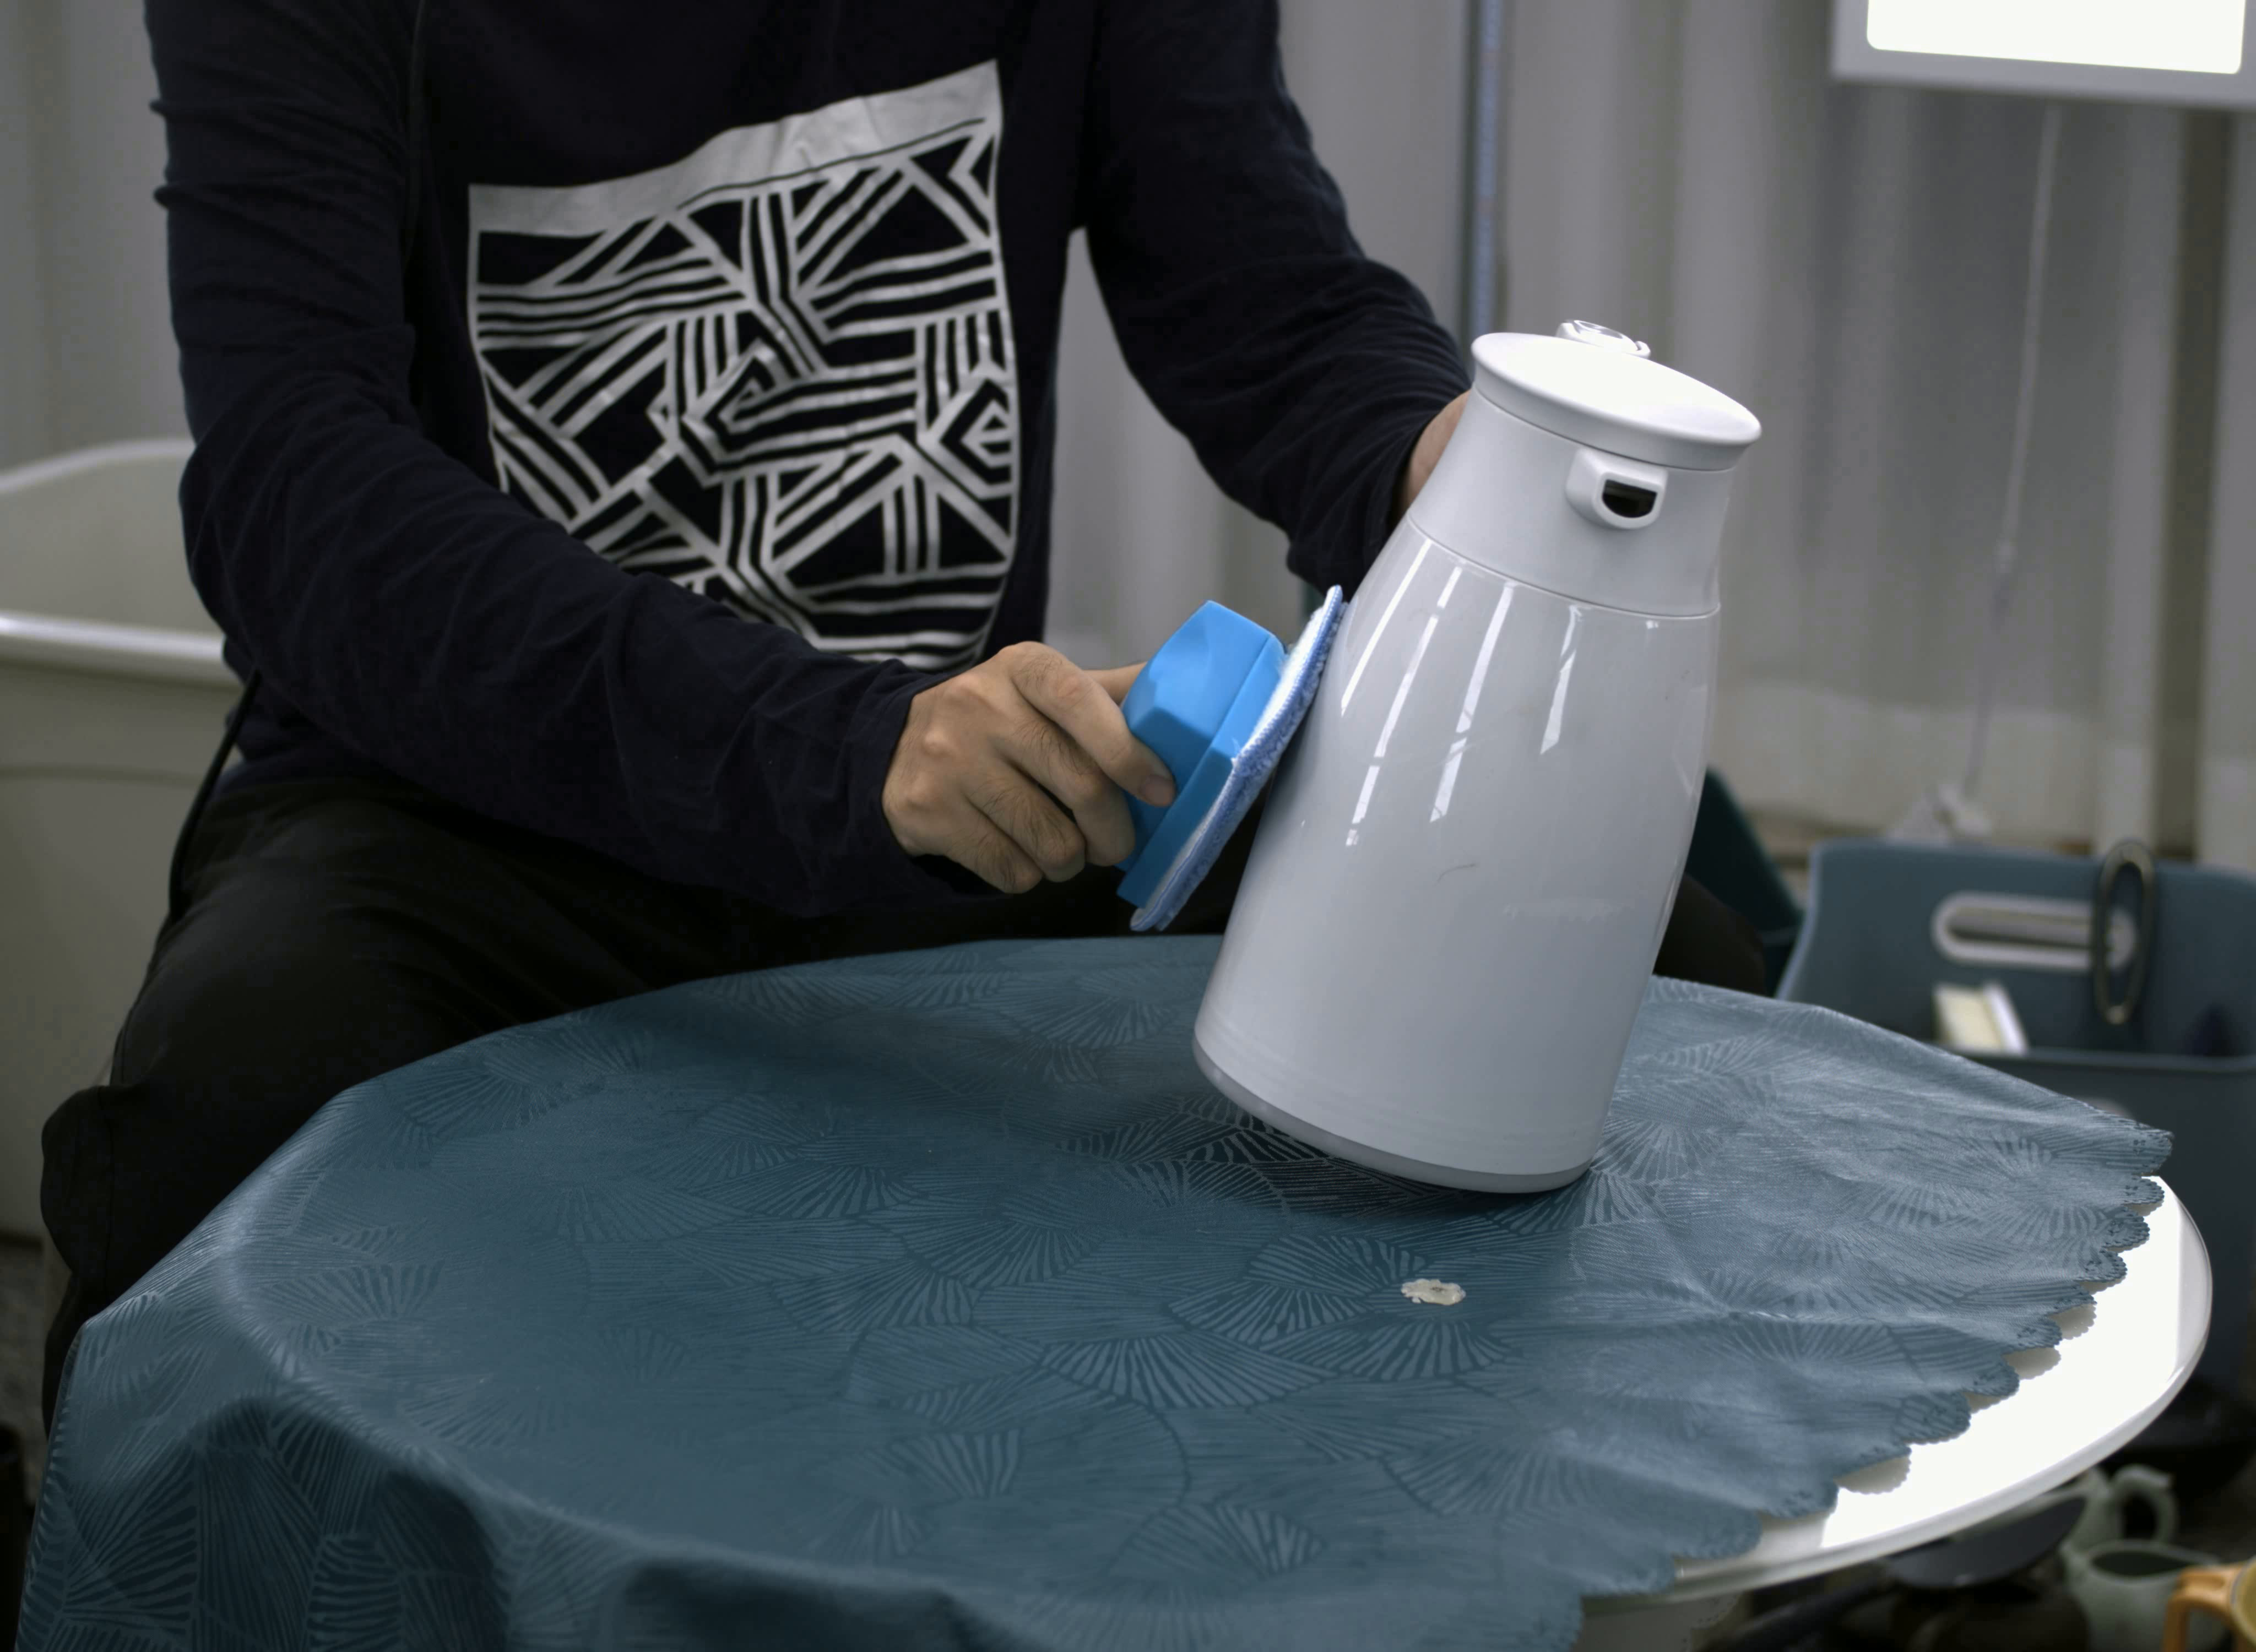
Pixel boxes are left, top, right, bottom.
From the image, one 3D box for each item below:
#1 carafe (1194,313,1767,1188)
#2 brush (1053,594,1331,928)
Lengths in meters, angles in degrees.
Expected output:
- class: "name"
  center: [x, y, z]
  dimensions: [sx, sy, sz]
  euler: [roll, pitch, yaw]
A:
- class: "carafe"
  center: [0.114, -0.034, 1.637]
  dimensions: [0.133, 0.250, 0.166]
  euler: [13, 17, -11]
- class: "brush"
  center: [0.014, -0.026, 1.663]
  dimensions: [0.056, 0.084, 0.144]
  euler: [34, -26, -2]
